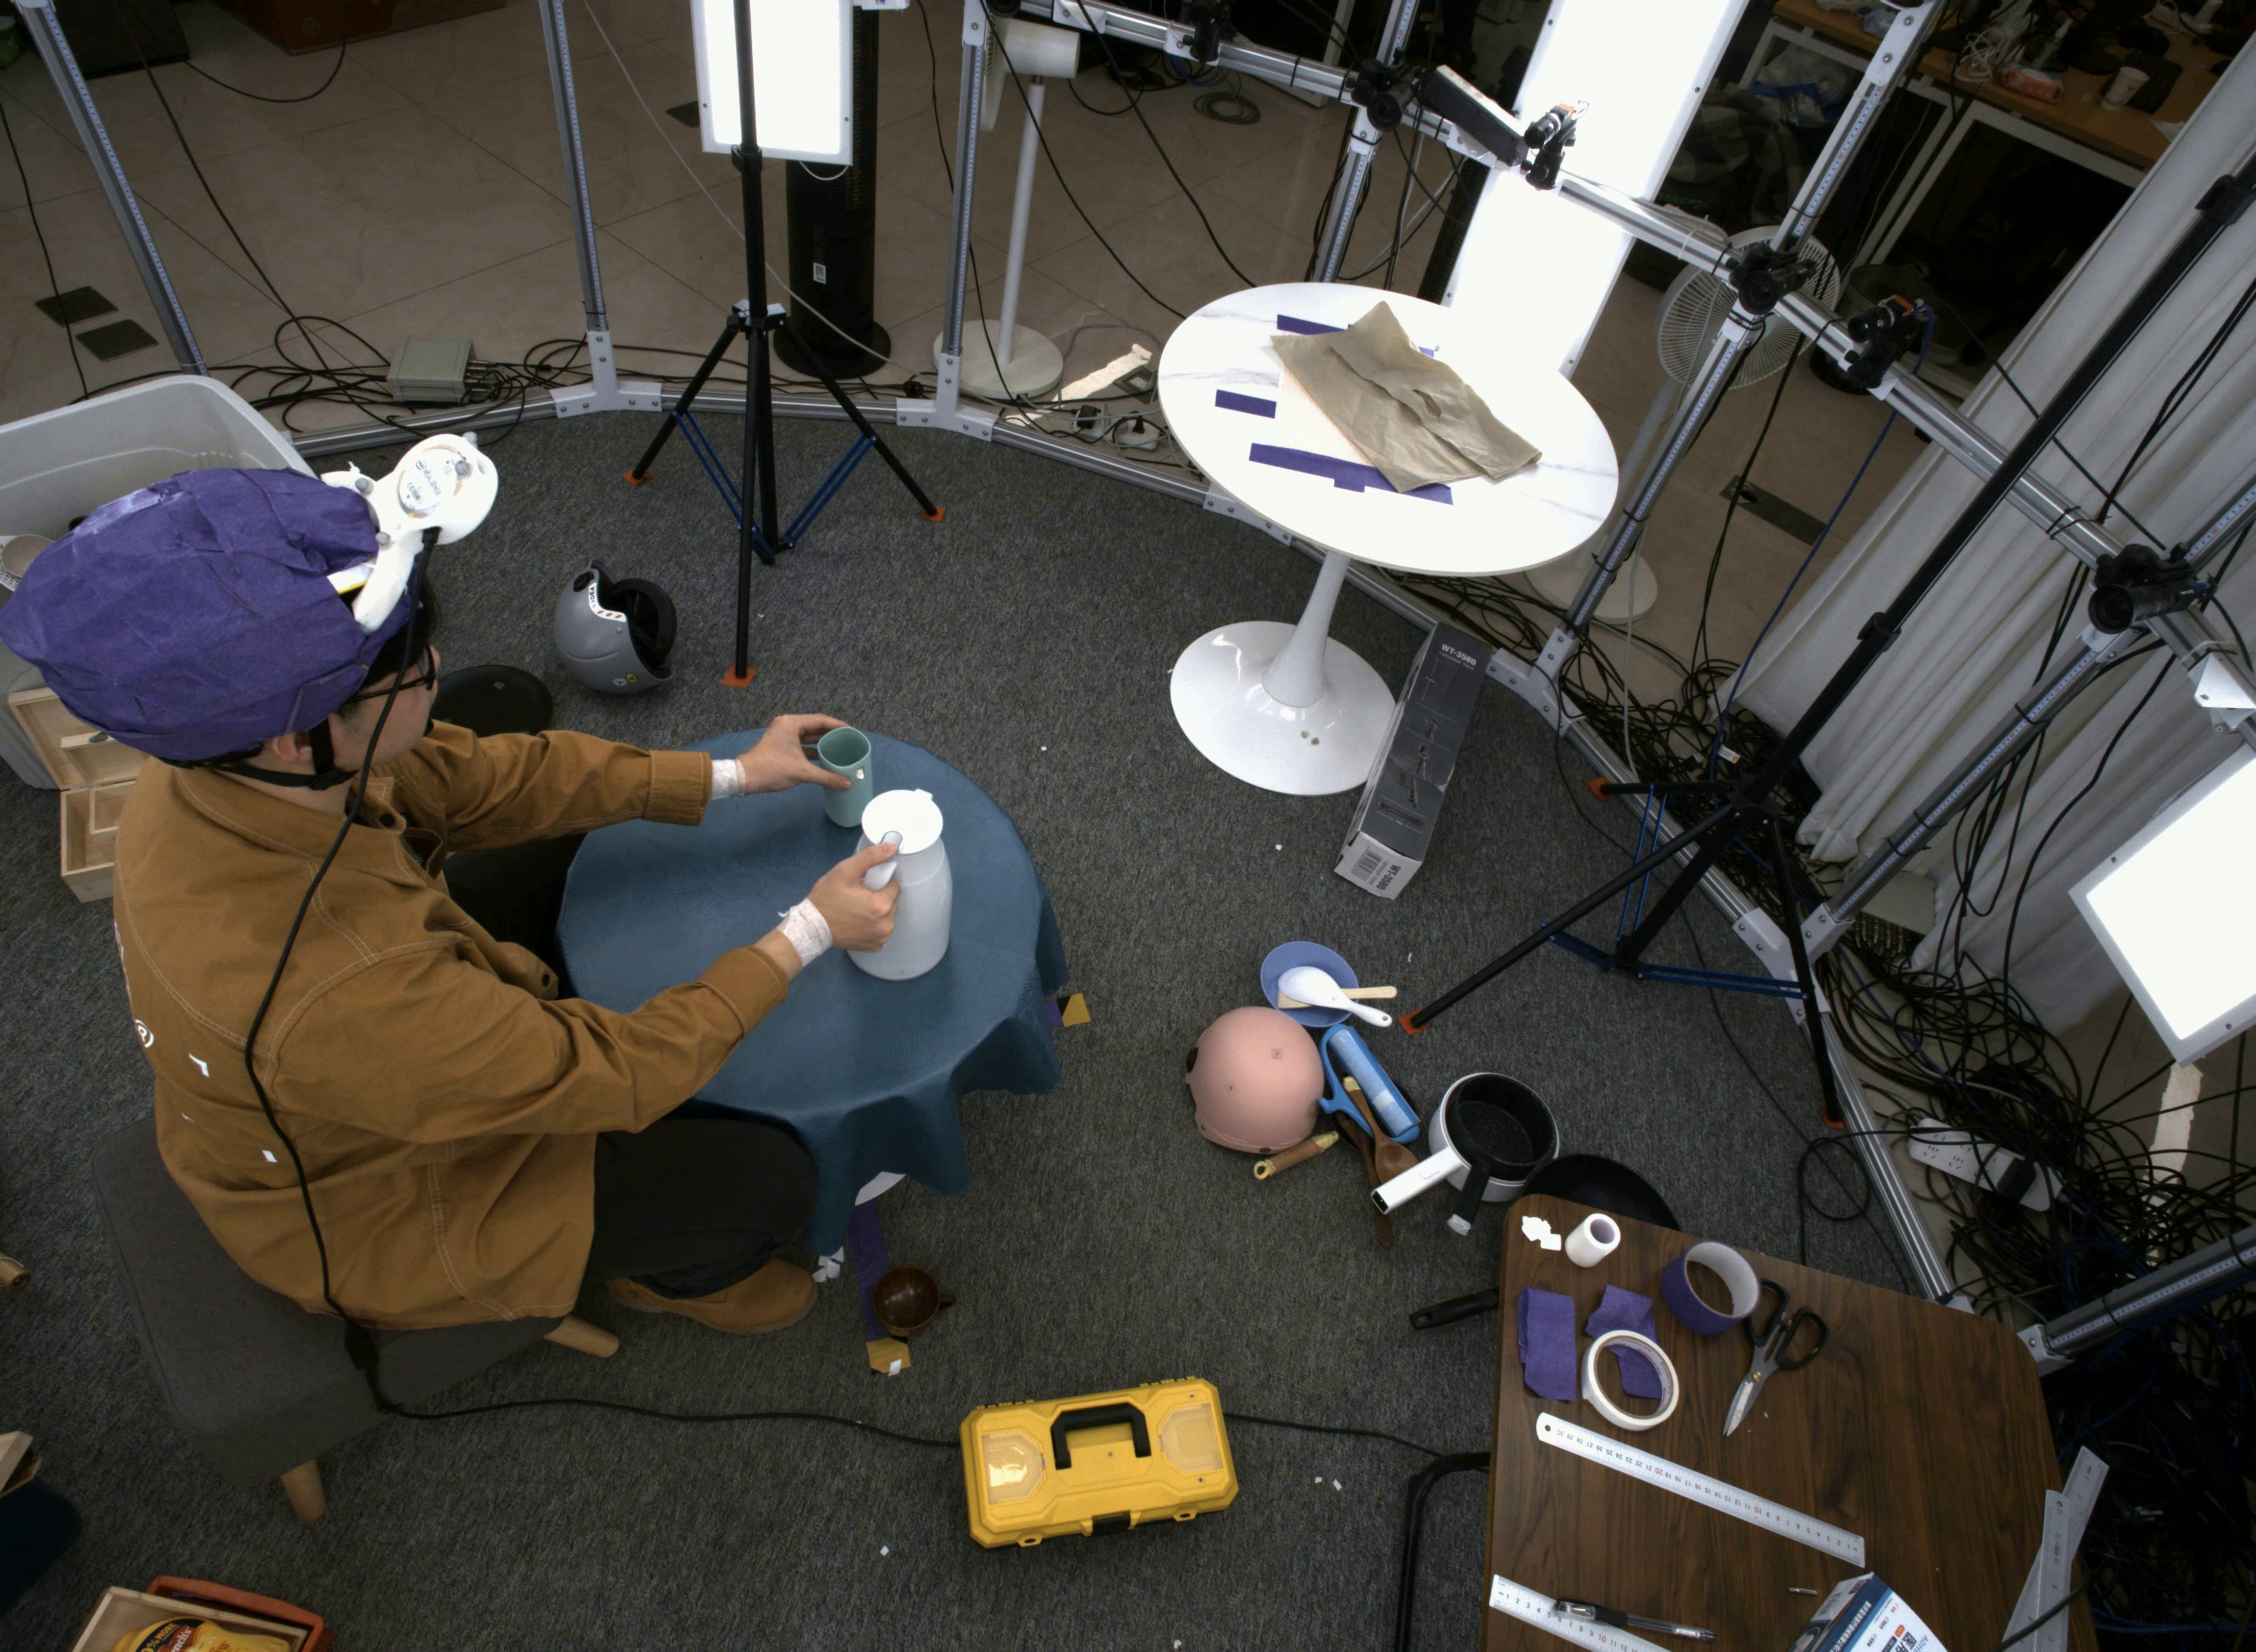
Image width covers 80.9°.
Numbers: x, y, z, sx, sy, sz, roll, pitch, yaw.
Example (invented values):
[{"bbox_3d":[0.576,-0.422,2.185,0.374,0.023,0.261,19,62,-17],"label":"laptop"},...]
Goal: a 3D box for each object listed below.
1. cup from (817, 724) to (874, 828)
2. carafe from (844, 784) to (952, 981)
[{"bbox_3d":[-0.368,-0.063,1.692,0.066,0.135,0.065,4,53,-4],"label":"cup"},{"bbox_3d":[-0.278,0.076,1.542,0.131,0.254,0.166,19,51,3],"label":"carafe"}]
